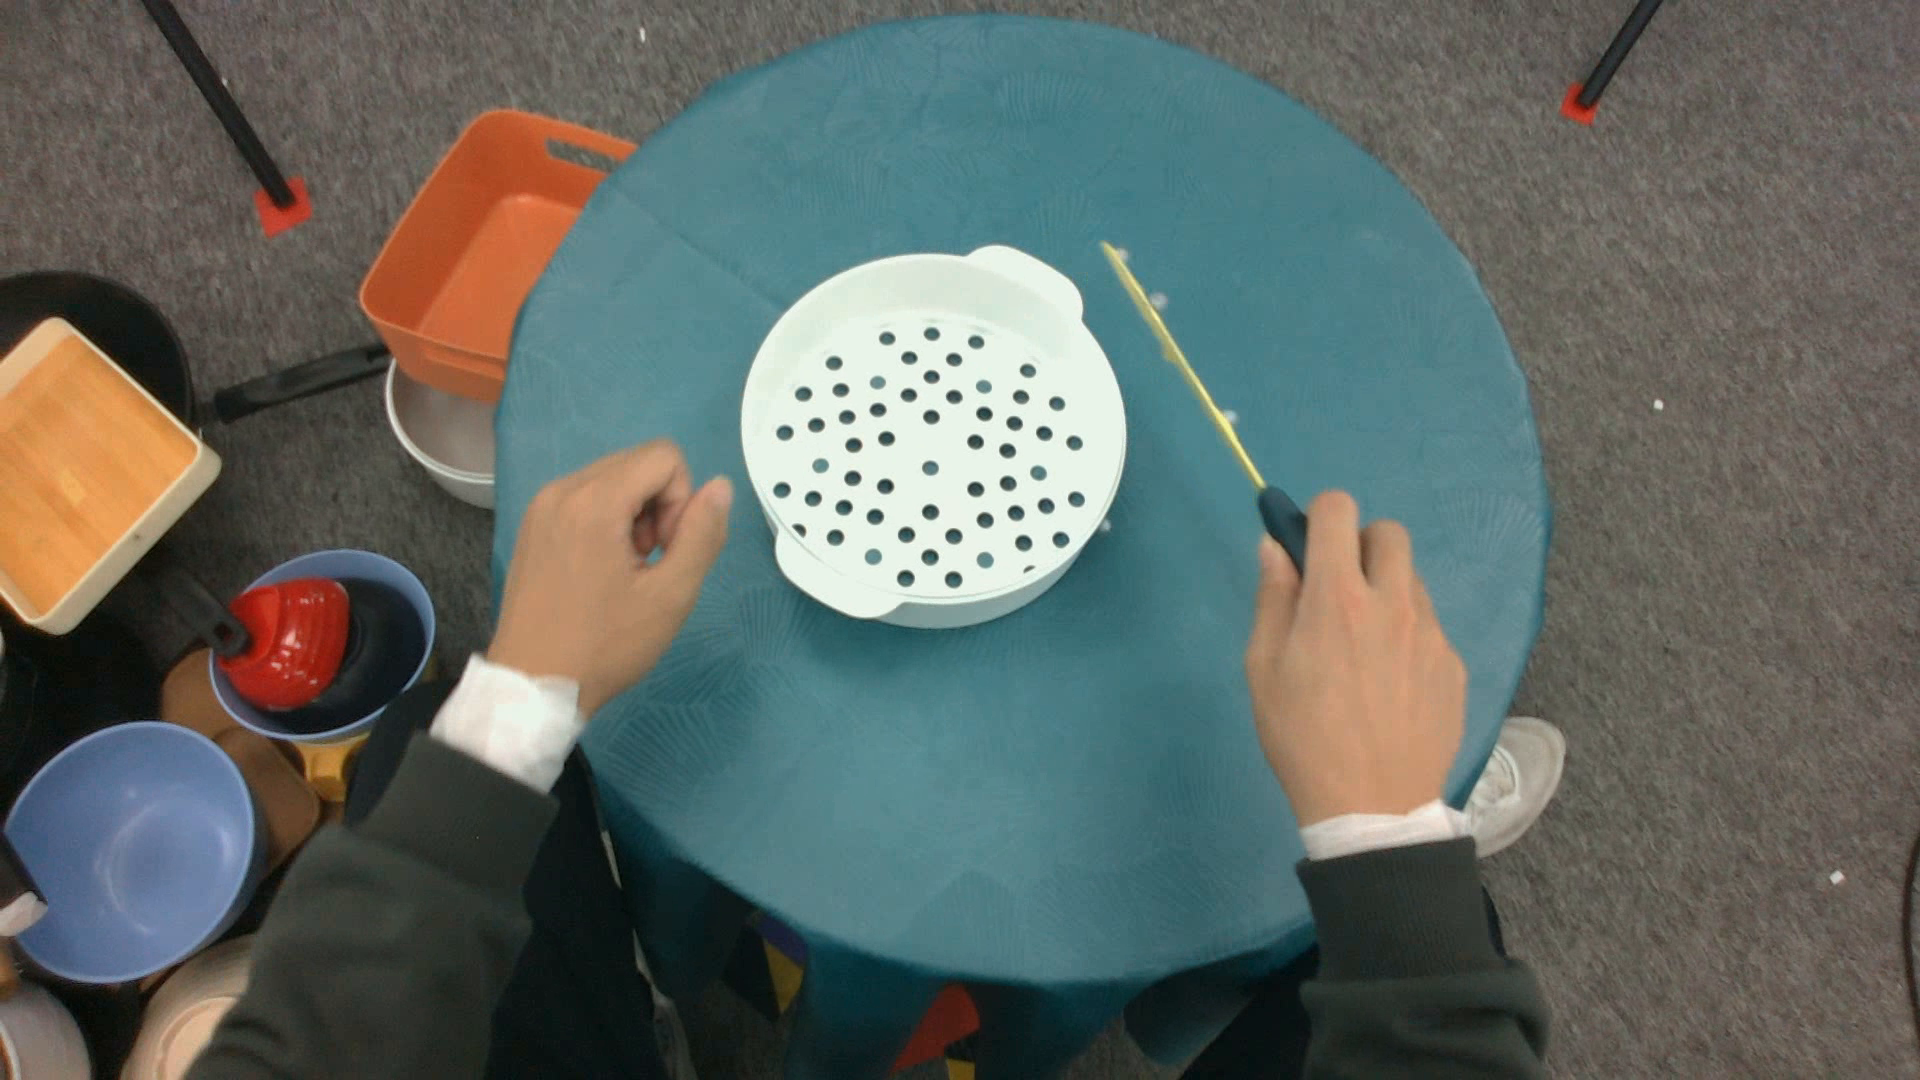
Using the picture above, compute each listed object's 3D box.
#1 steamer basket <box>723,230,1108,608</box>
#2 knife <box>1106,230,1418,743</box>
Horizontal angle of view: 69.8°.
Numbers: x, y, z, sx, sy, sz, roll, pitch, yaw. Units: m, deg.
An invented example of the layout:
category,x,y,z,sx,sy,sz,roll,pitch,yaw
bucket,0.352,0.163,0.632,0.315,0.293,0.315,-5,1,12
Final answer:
category,x,y,z,sx,sy,sz,roll,pitch,yaw
steamer basket,-0.024,-0.062,0.744,0.202,0.069,0.231,30,69,8
knife,0.138,-0.034,0.665,0.027,0.081,0.290,-32,73,16
